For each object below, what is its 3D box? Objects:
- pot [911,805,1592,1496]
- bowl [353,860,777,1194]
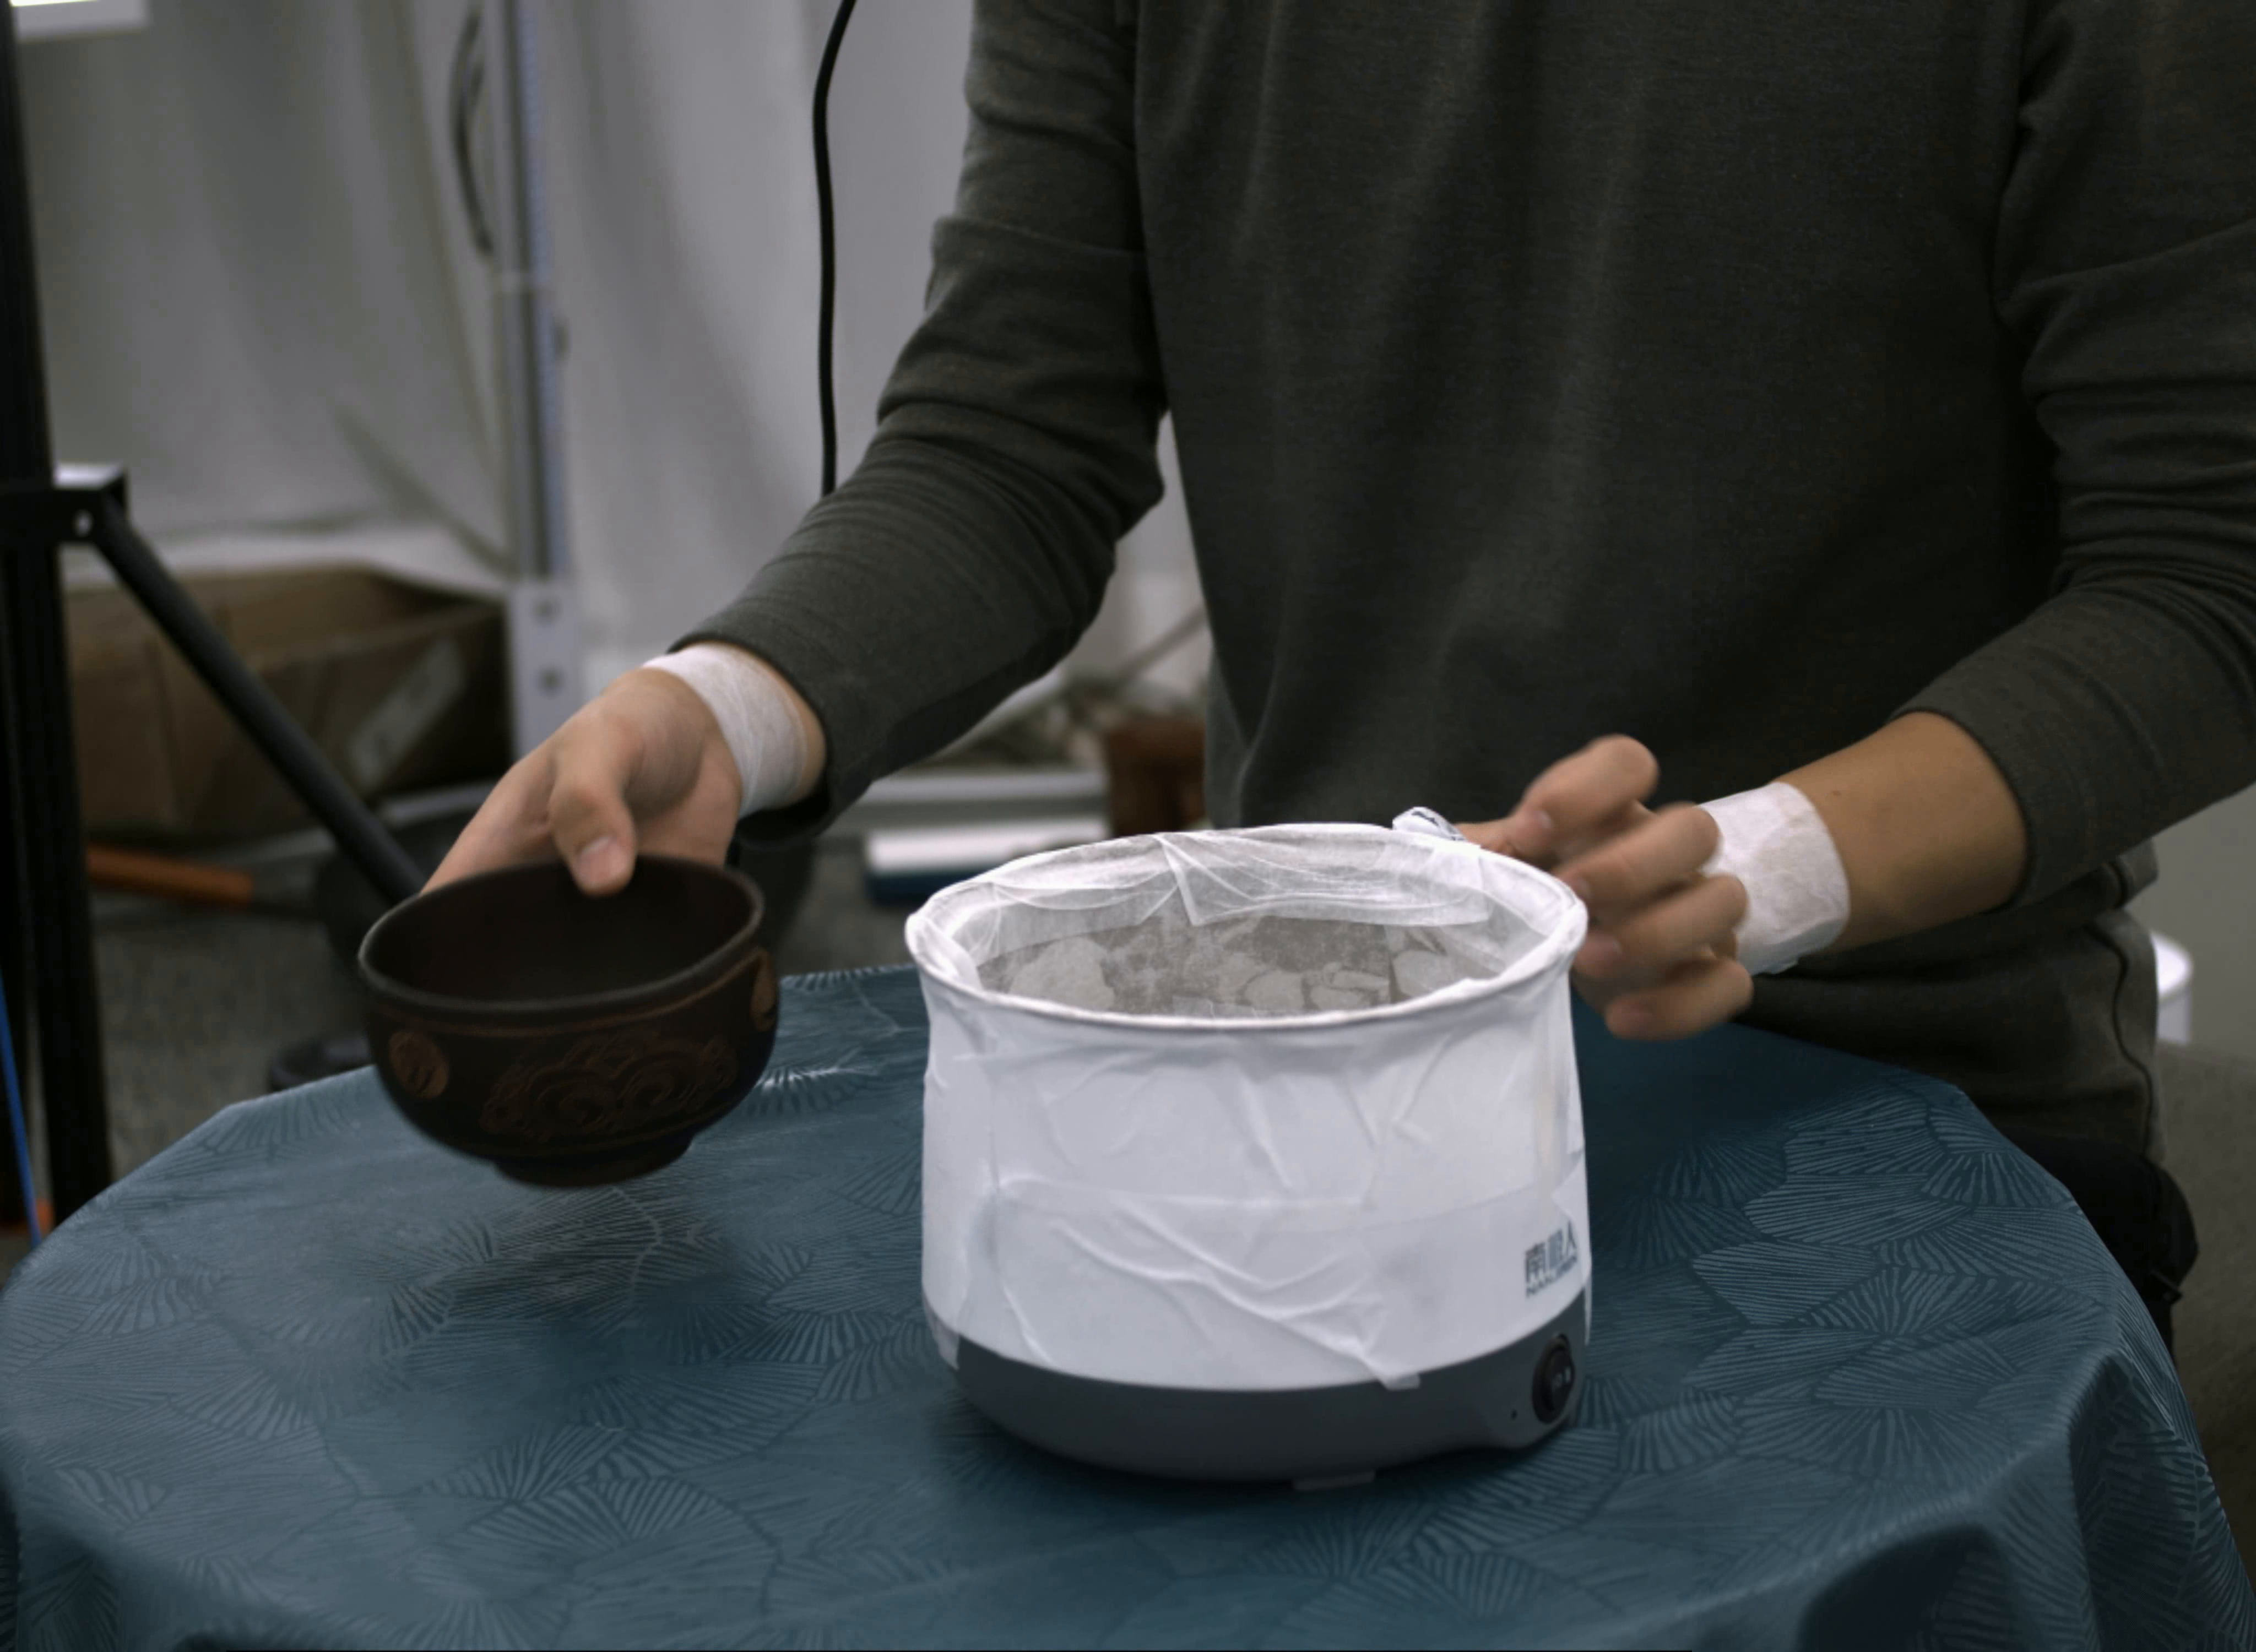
[{"bbox_3d":[0.046,0.078,1.409,0.182,0.136,0.229,7,18,29],"label":"pot"},{"bbox_3d":[-0.156,0.061,1.499,0.117,0.070,0.119,-5,18,0],"label":"bowl"}]
